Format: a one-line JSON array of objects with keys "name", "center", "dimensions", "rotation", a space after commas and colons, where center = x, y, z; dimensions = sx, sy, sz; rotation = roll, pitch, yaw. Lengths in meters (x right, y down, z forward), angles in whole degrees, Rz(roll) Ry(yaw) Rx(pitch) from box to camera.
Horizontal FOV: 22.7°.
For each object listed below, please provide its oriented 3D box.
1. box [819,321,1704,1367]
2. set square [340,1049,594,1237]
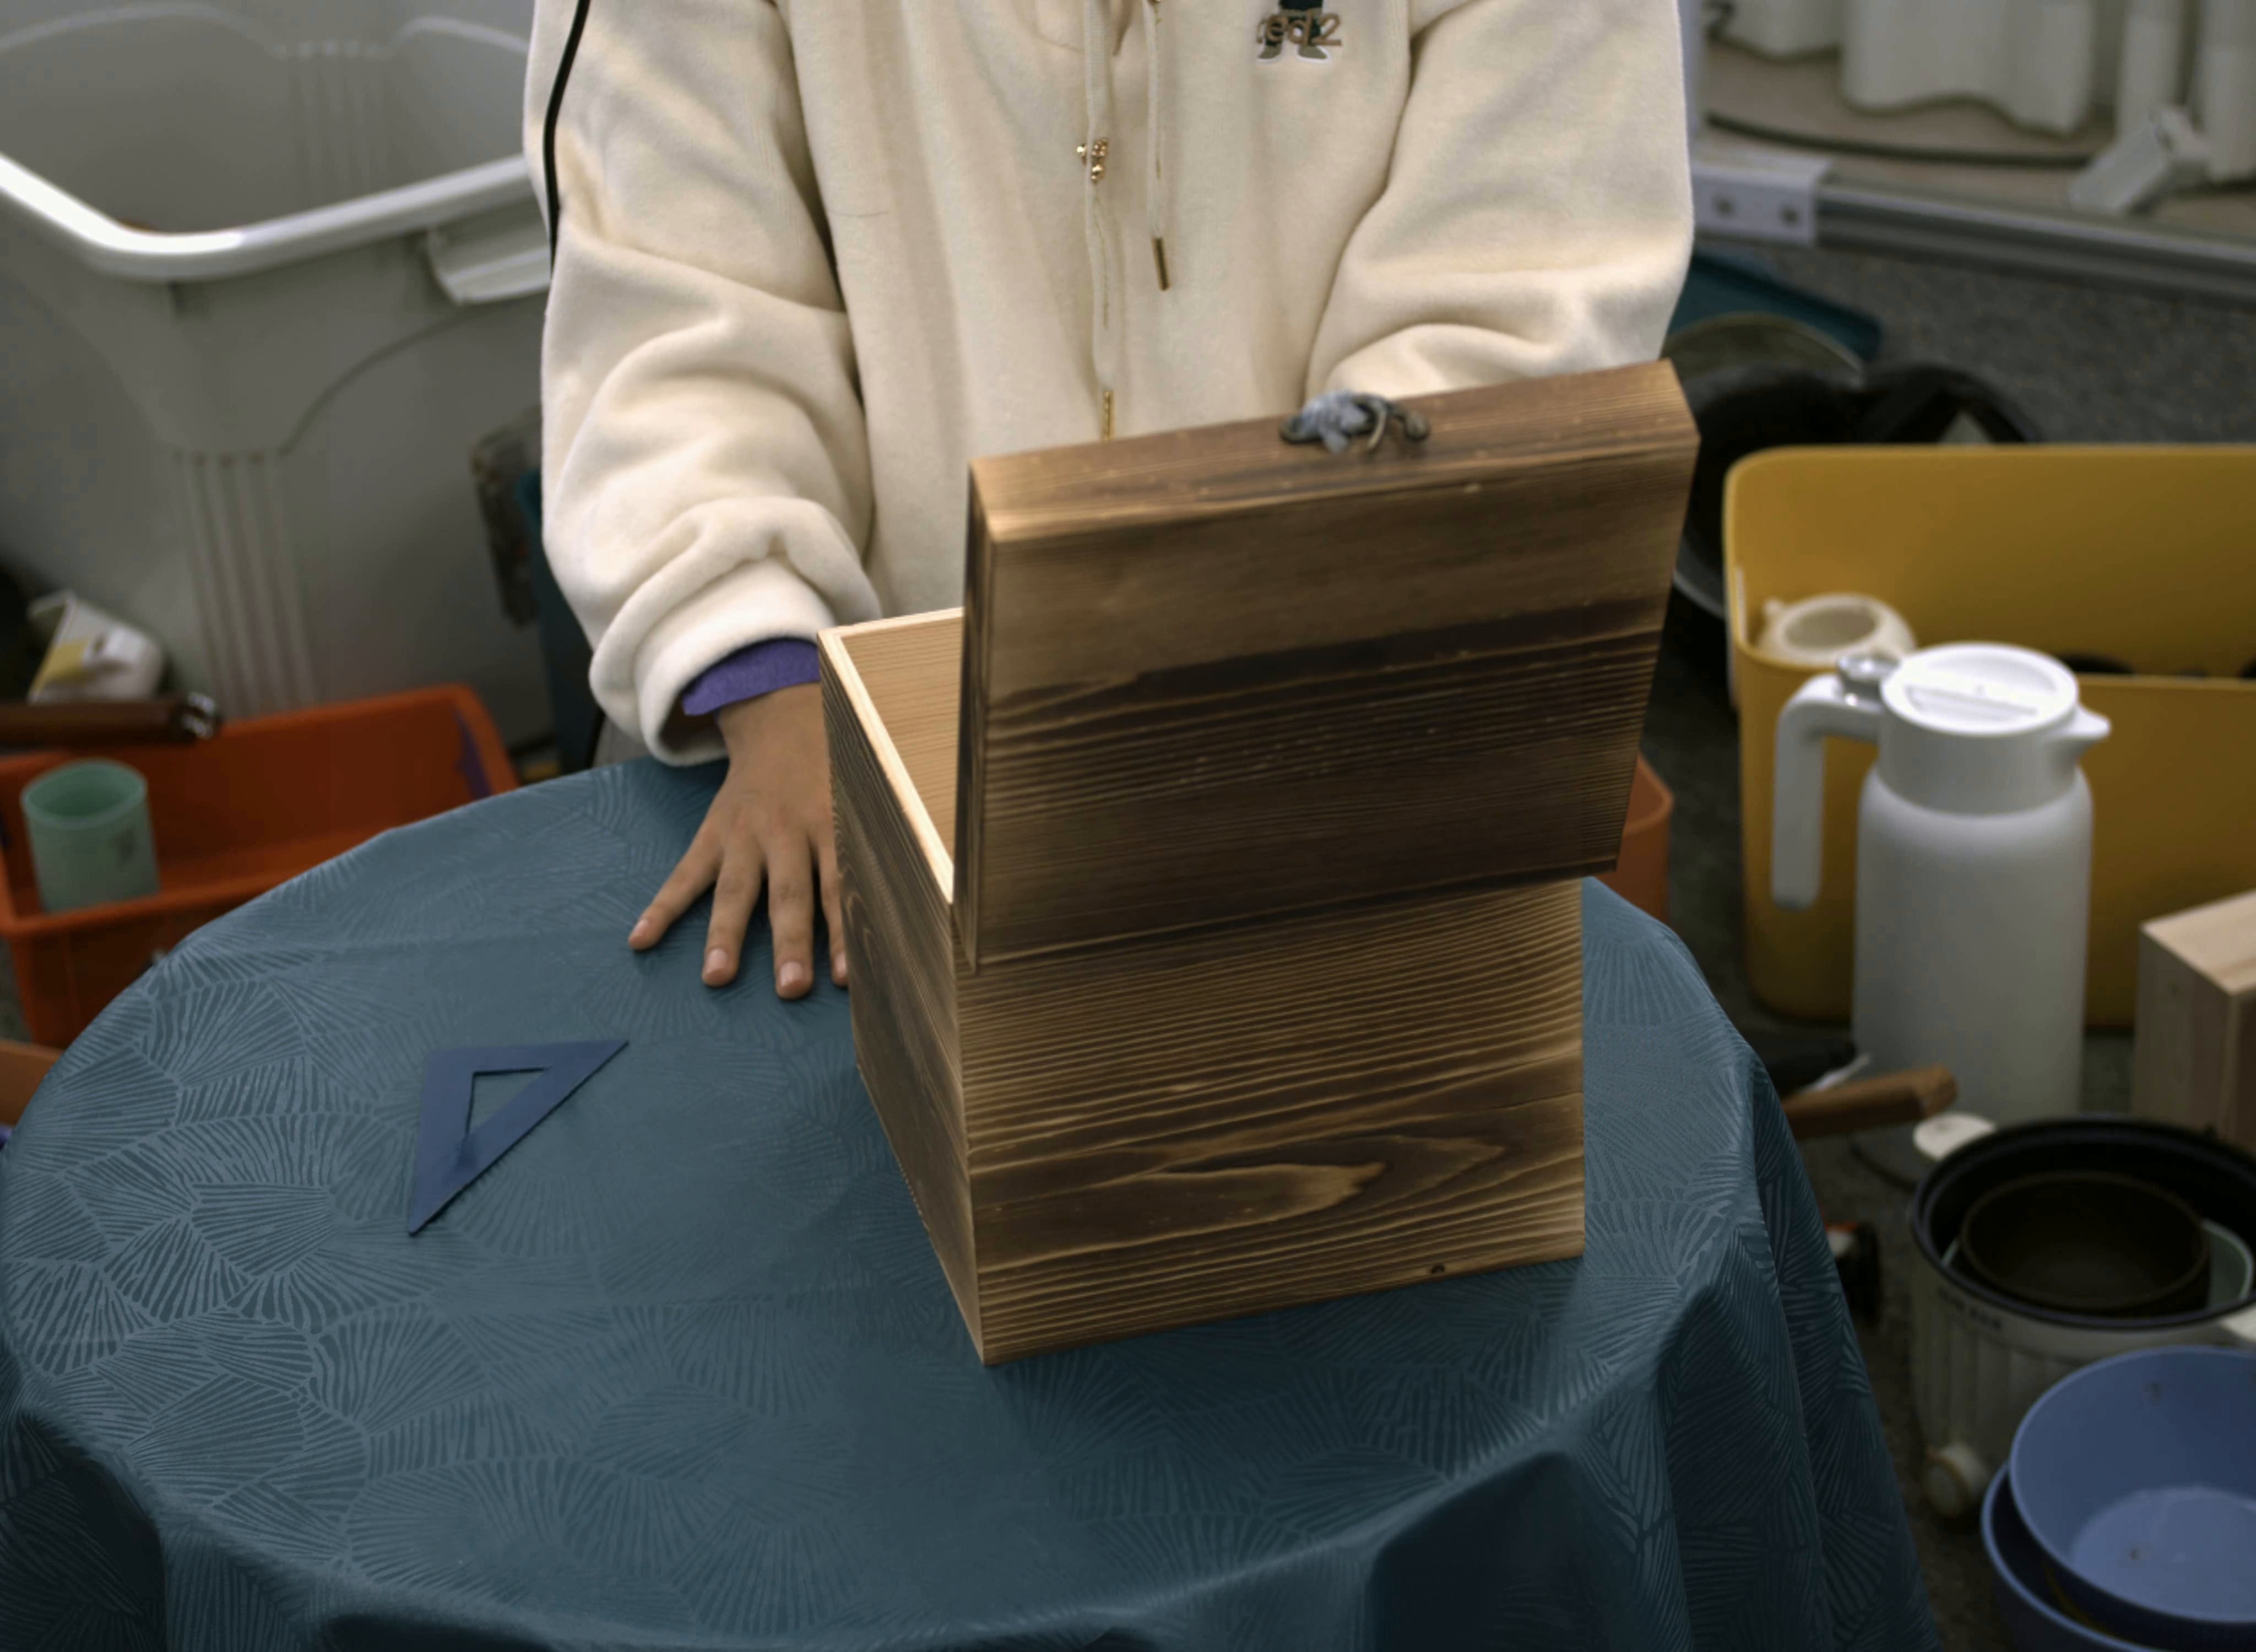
[{"name": "box", "center": [0.032, -0.024, 1.756], "dimensions": [0.209, 0.371, 0.325], "rotation": [-8, 28, -12]}, {"name": "set square", "center": [-0.242, 0.103, 1.917], "dimensions": [0.061, 0.006, 0.134], "rotation": [15, 32, 27]}]
